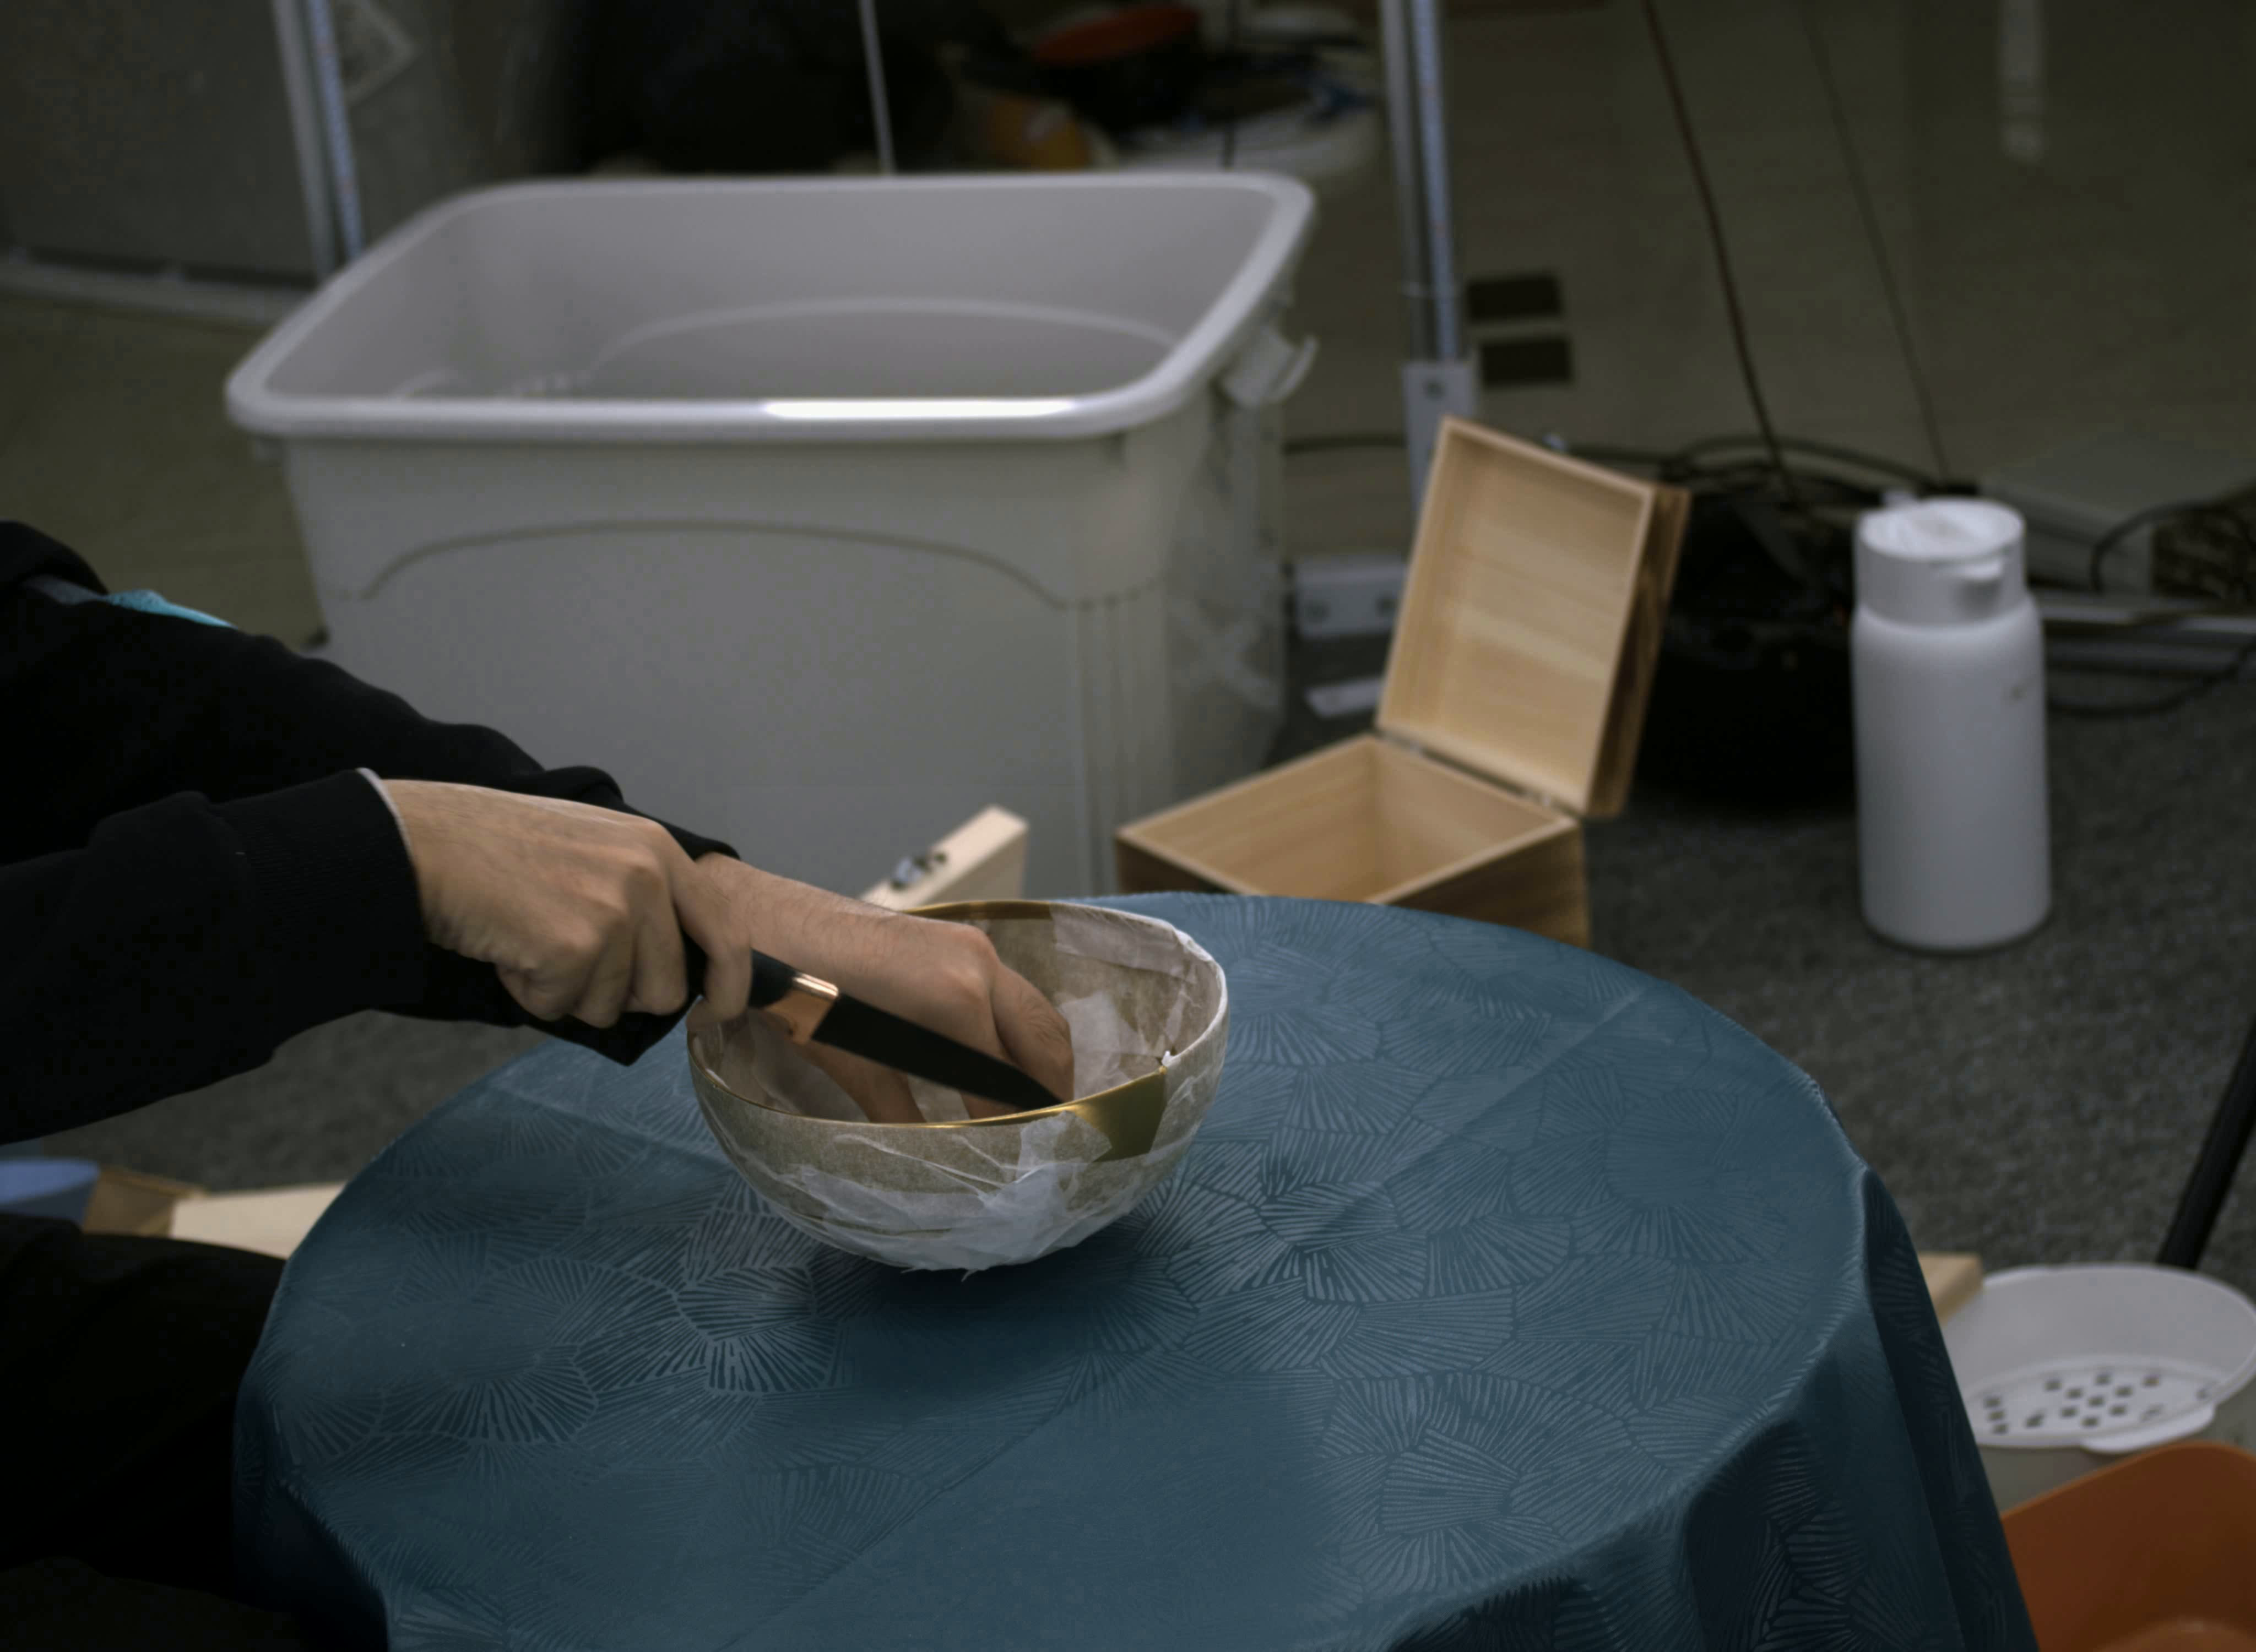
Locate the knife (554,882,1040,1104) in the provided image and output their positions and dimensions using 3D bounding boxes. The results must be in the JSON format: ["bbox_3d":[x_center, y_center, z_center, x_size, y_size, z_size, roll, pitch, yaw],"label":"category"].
[{"bbox_3d":[-0.112,0.067,2.053,0.227,0.026,0.017,24,17,-29],"label":"knife"}]

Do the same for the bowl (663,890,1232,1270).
[{"bbox_3d":[-0.063,0.106,2.116,0.214,0.096,0.211,-4,25,2],"label":"bowl"}]
